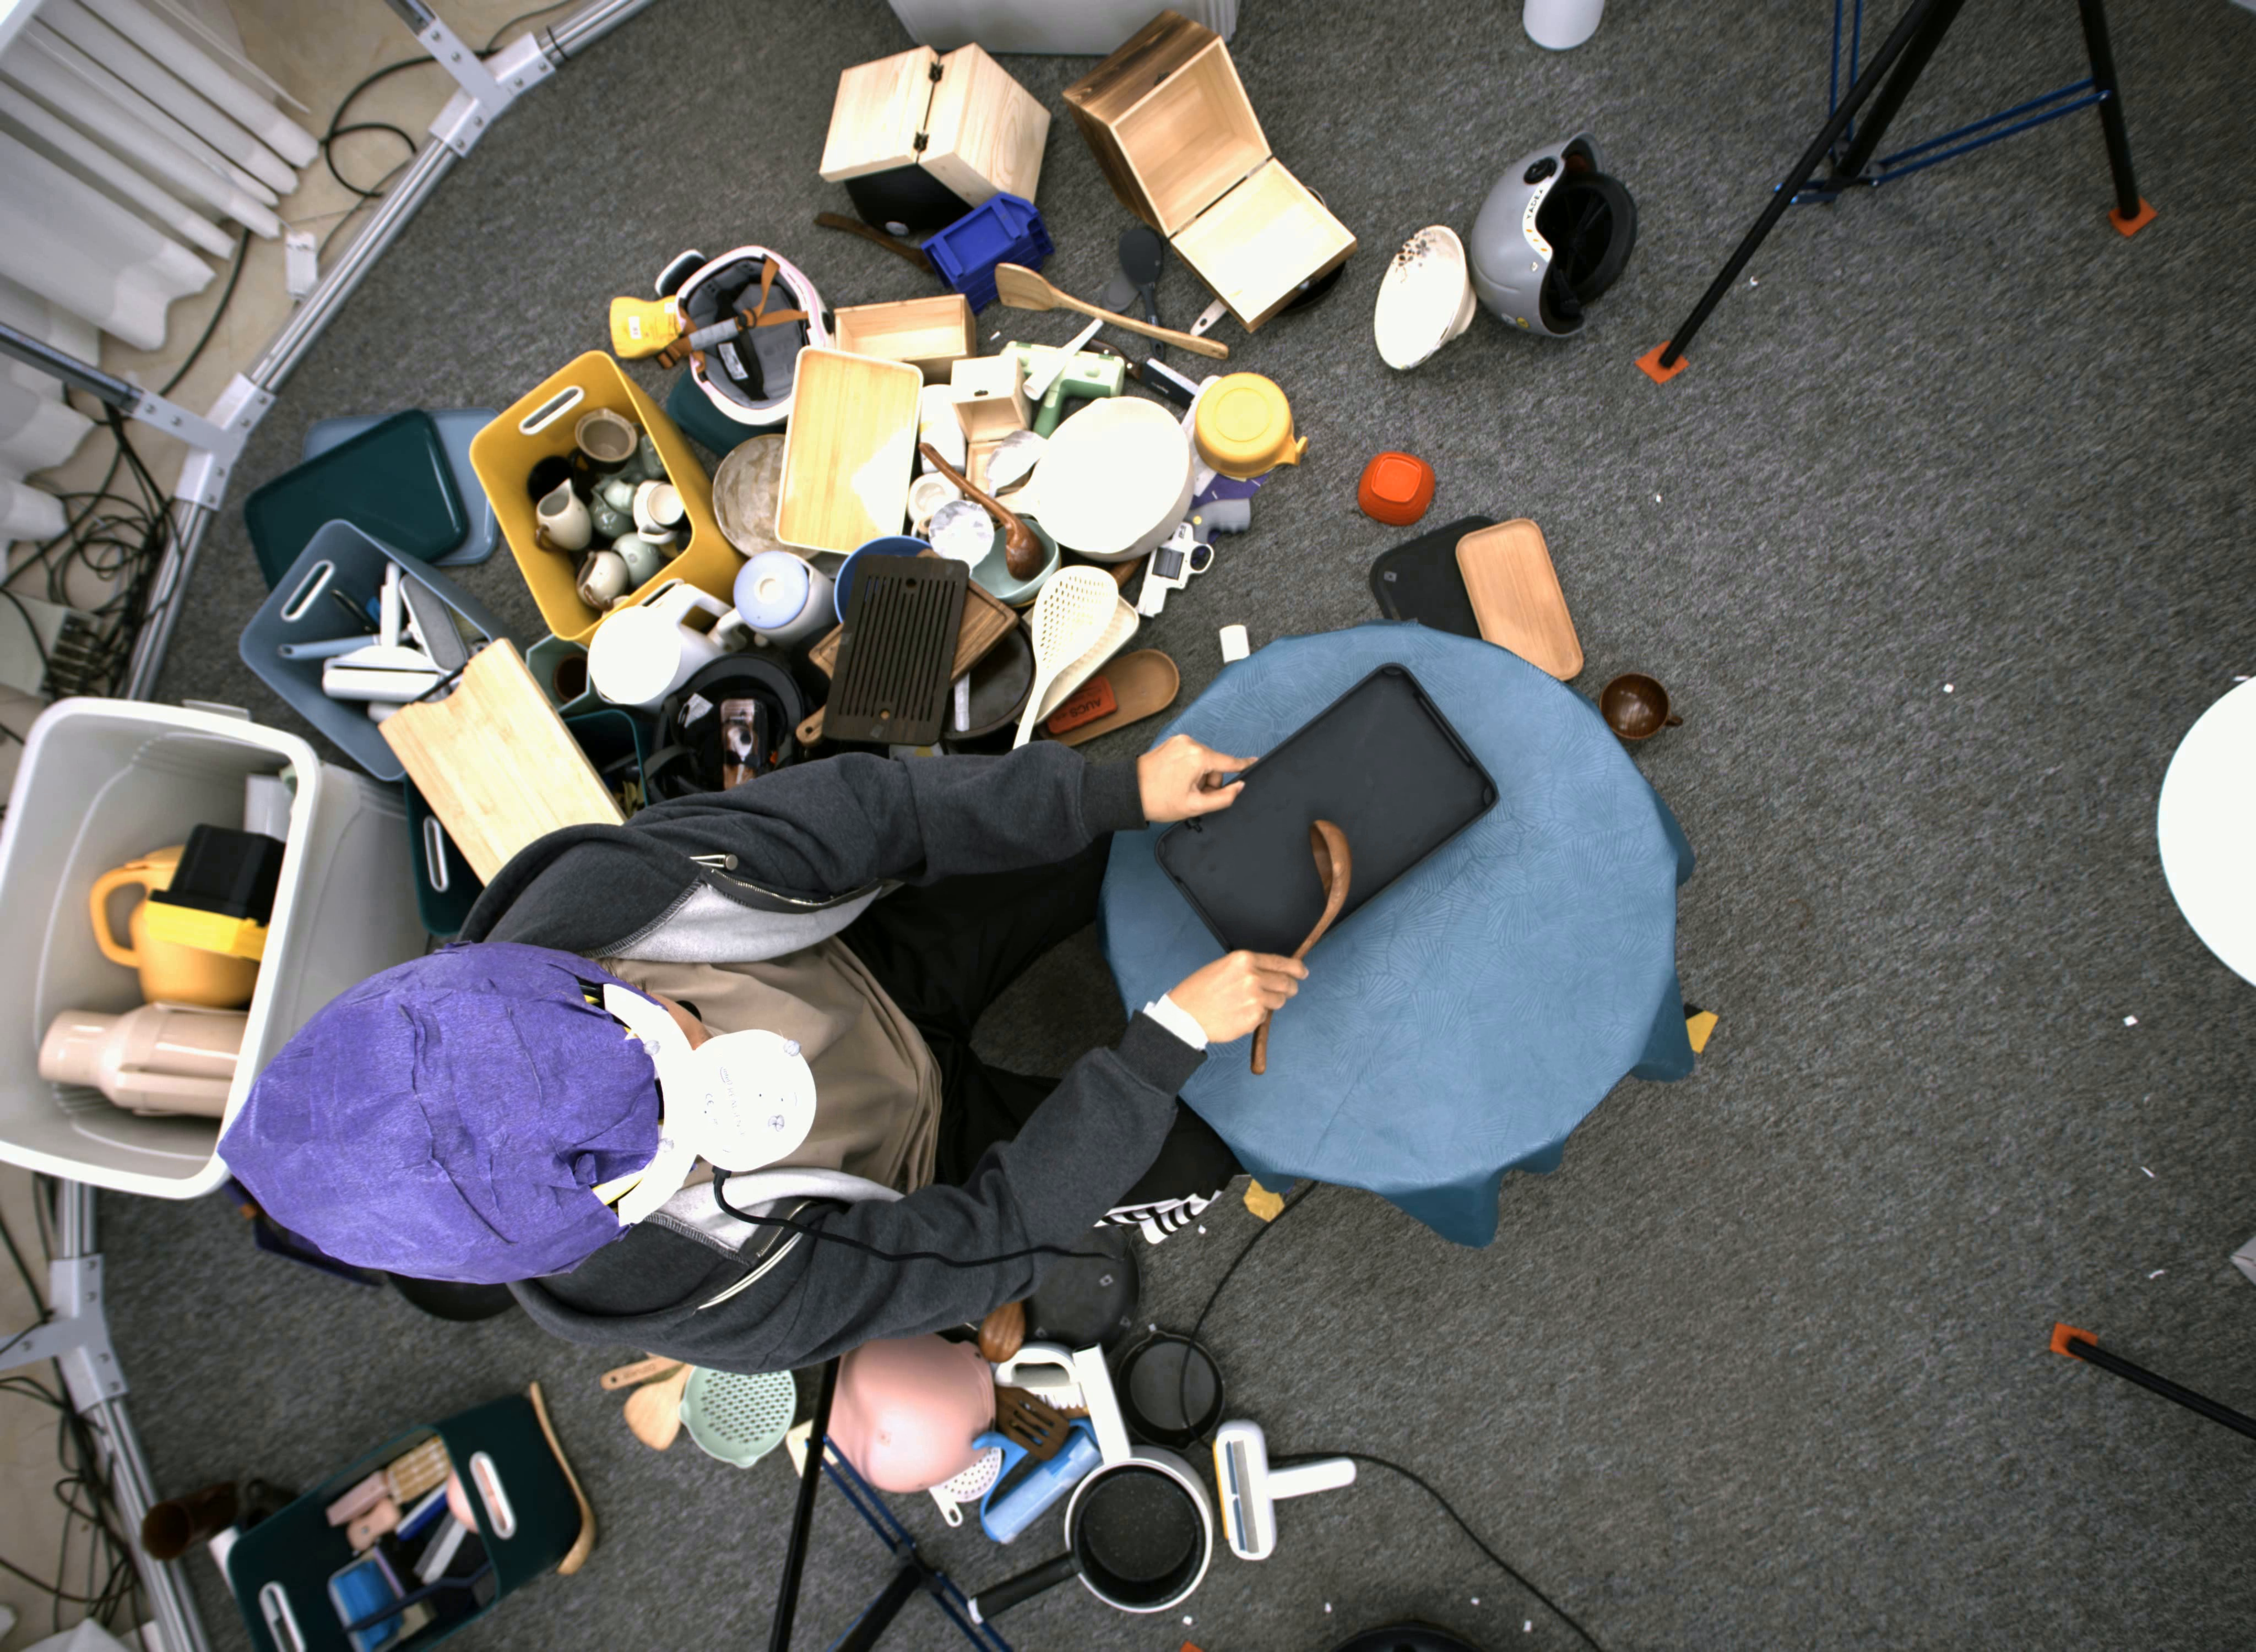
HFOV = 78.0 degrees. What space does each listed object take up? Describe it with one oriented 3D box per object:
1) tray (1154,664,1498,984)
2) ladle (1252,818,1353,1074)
[{"bbox_3d":[0.197,-0.003,1.390,0.319,0.037,0.184,-38,92,3],"label":"tray"},{"bbox_3d":[0.157,0.113,1.352,0.065,0.077,0.257,26,79,7],"label":"ladle"}]
